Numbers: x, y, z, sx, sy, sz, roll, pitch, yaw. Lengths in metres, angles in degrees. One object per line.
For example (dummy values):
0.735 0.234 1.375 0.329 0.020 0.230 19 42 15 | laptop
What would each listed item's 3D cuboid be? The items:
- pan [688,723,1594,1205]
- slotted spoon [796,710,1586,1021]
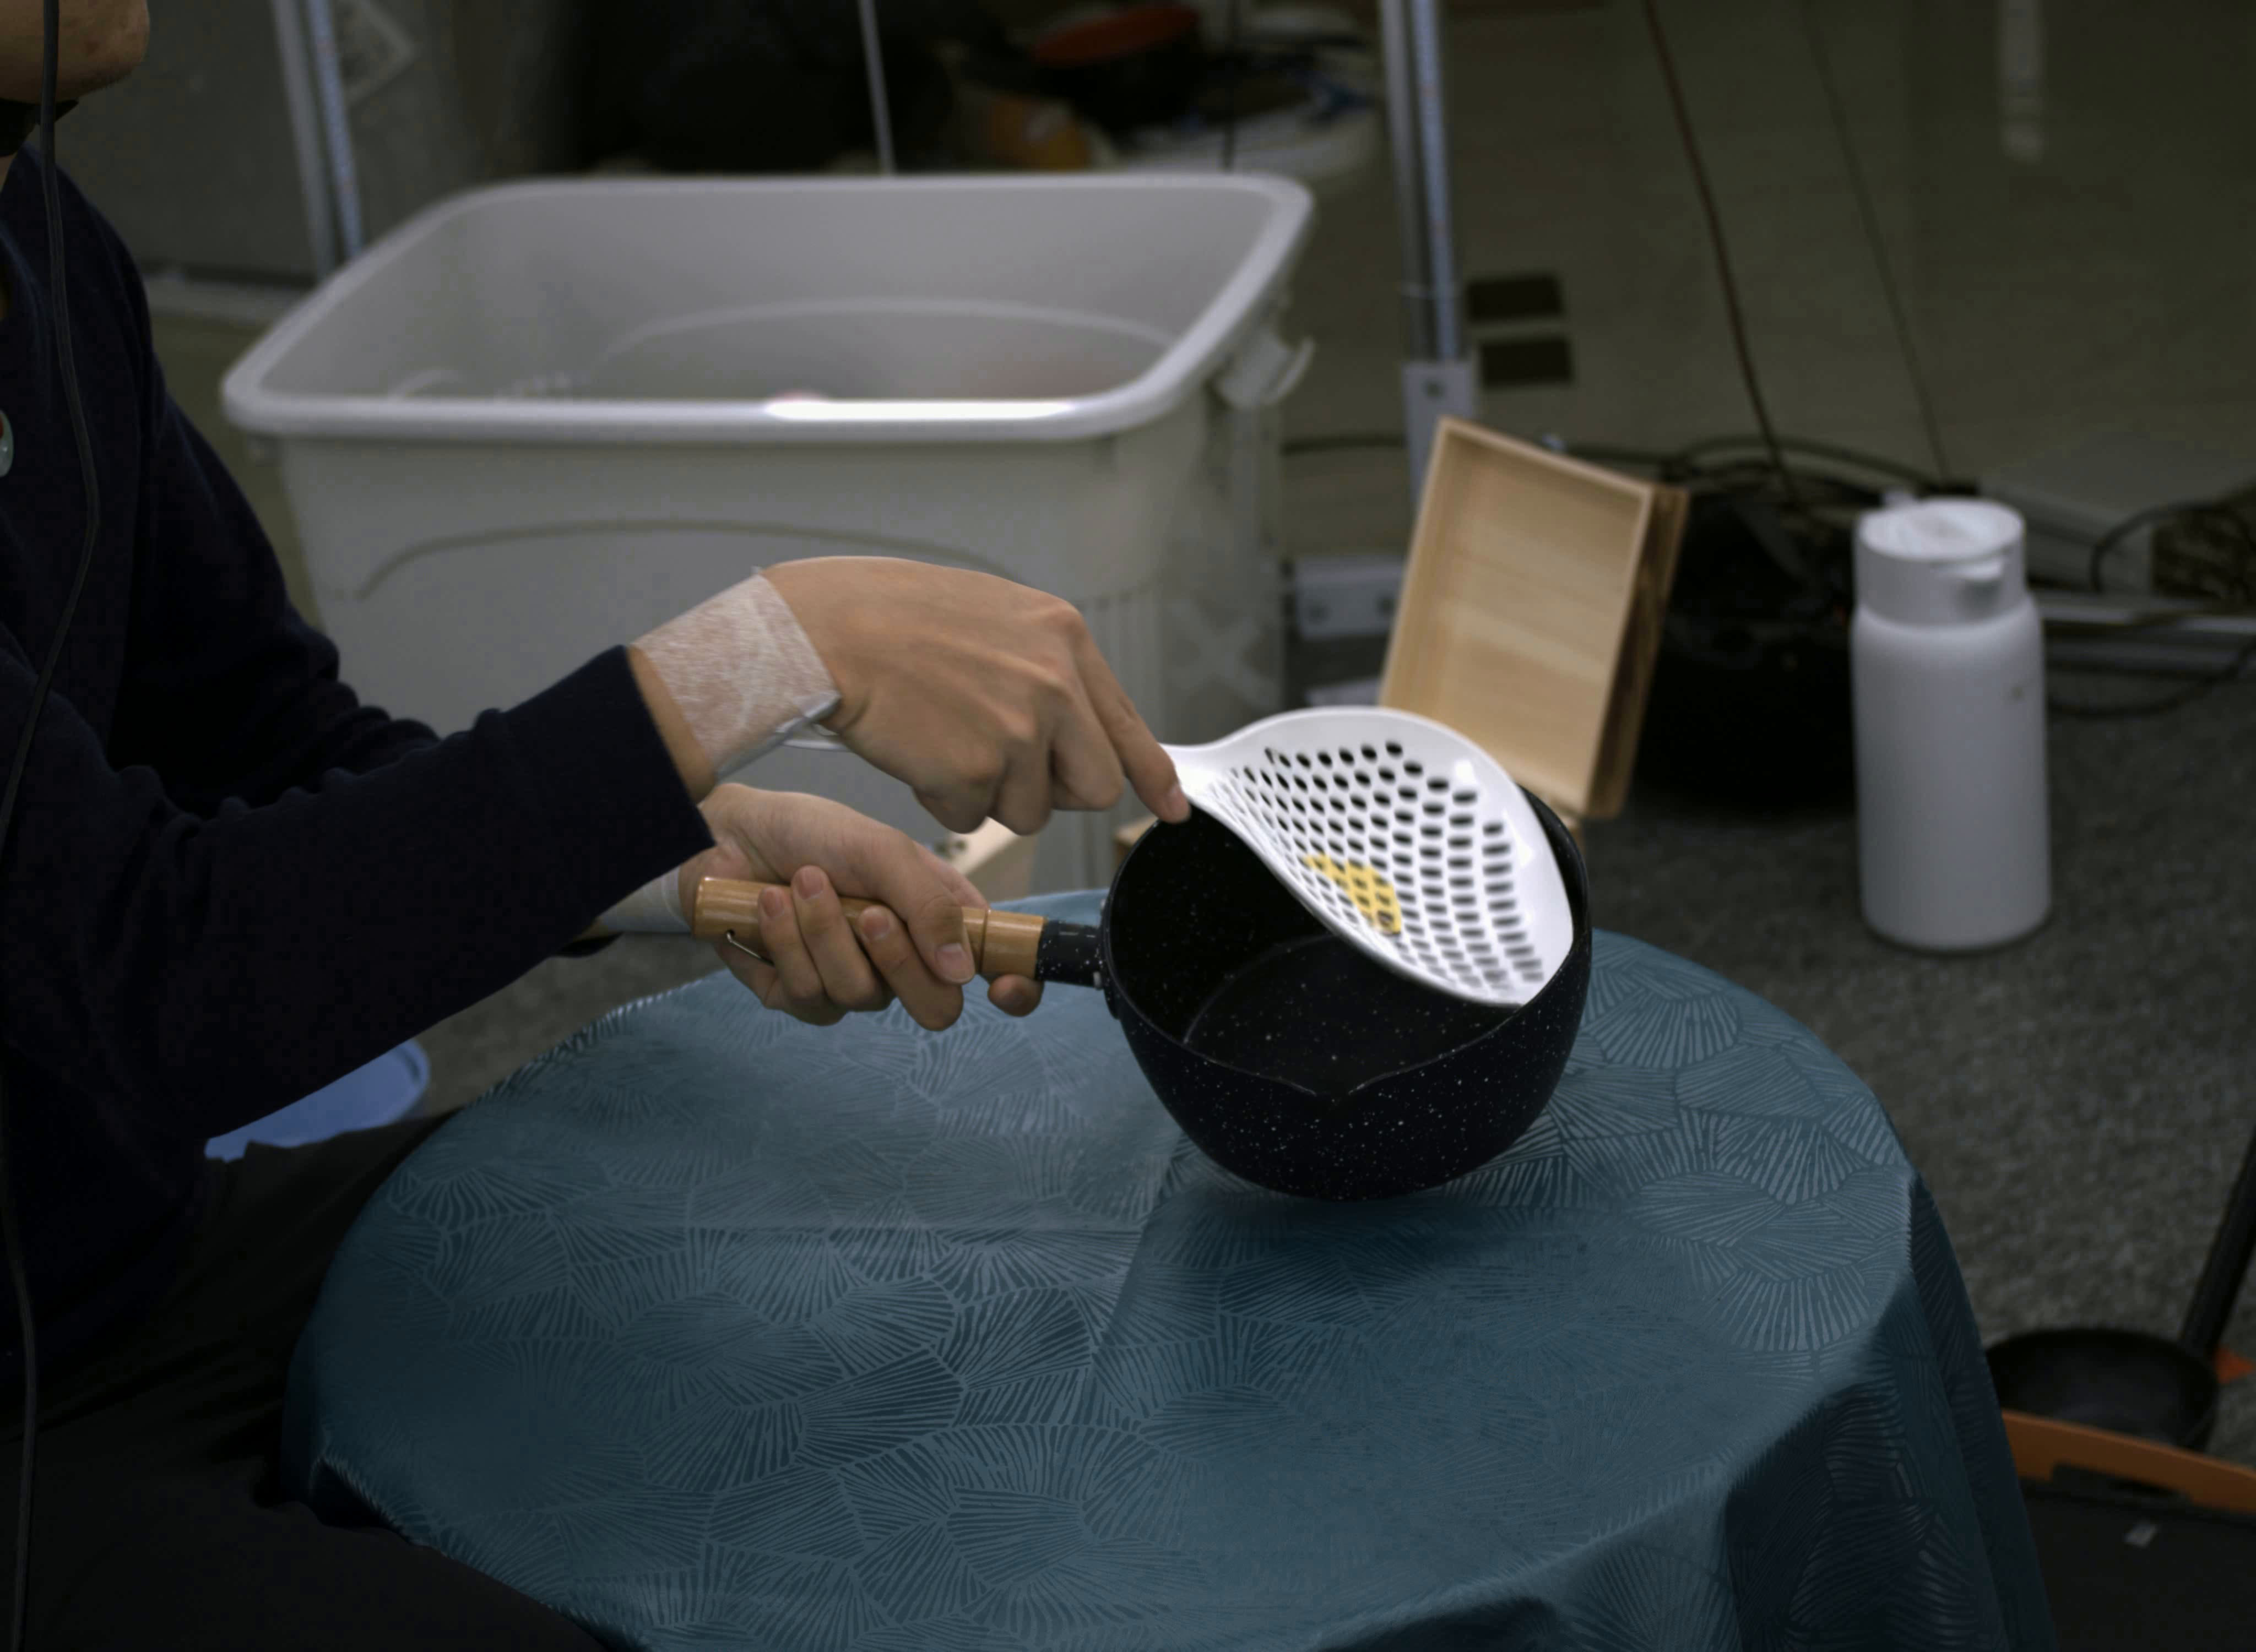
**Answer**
0.006 0.057 2.151 0.342 0.110 0.203 -2 44 7 | pan
0.027 -0.005 2.046 0.350 0.051 0.134 20 45 -40 | slotted spoon
